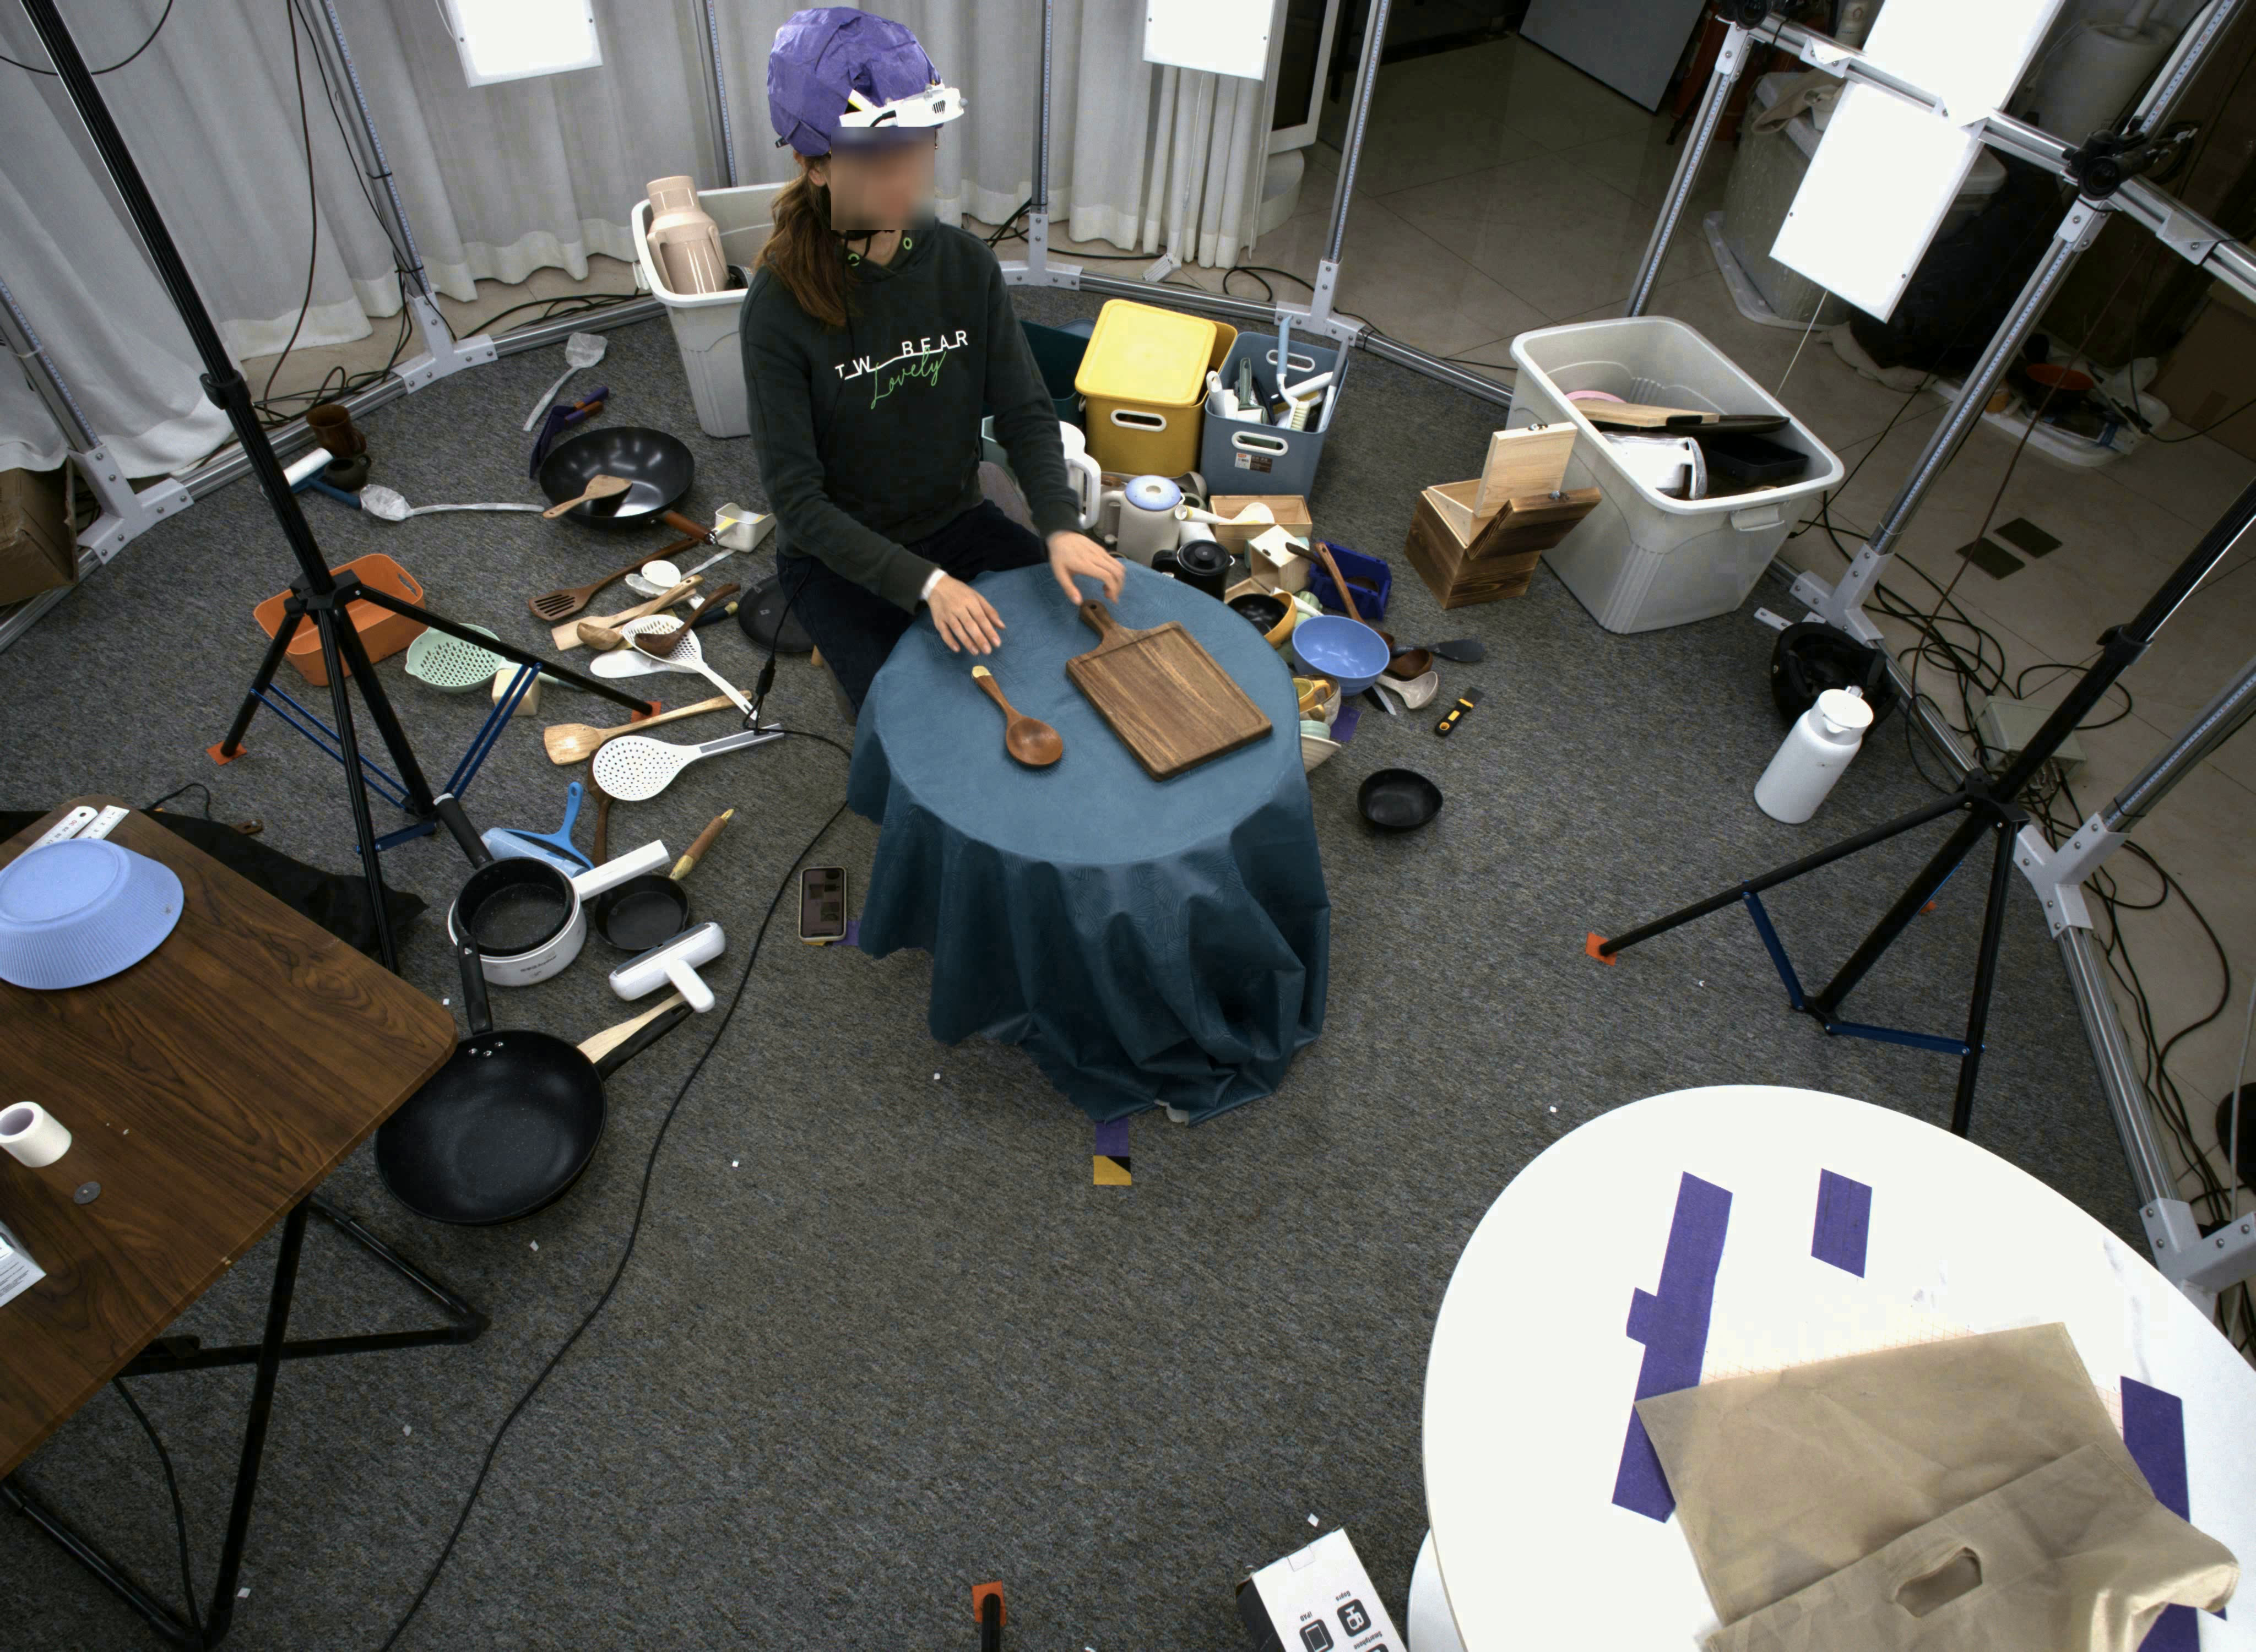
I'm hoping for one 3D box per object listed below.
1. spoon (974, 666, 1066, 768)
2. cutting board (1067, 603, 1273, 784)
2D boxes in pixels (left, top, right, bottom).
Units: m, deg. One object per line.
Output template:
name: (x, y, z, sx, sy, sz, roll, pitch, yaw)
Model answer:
spoon: (-0.158, -0.154, 1.796, 0.076, 0.017, 0.220, -23, 55, -20)
cutting board: (0.031, -0.215, 1.862, 0.202, 0.022, 0.359, -24, 54, -21)
